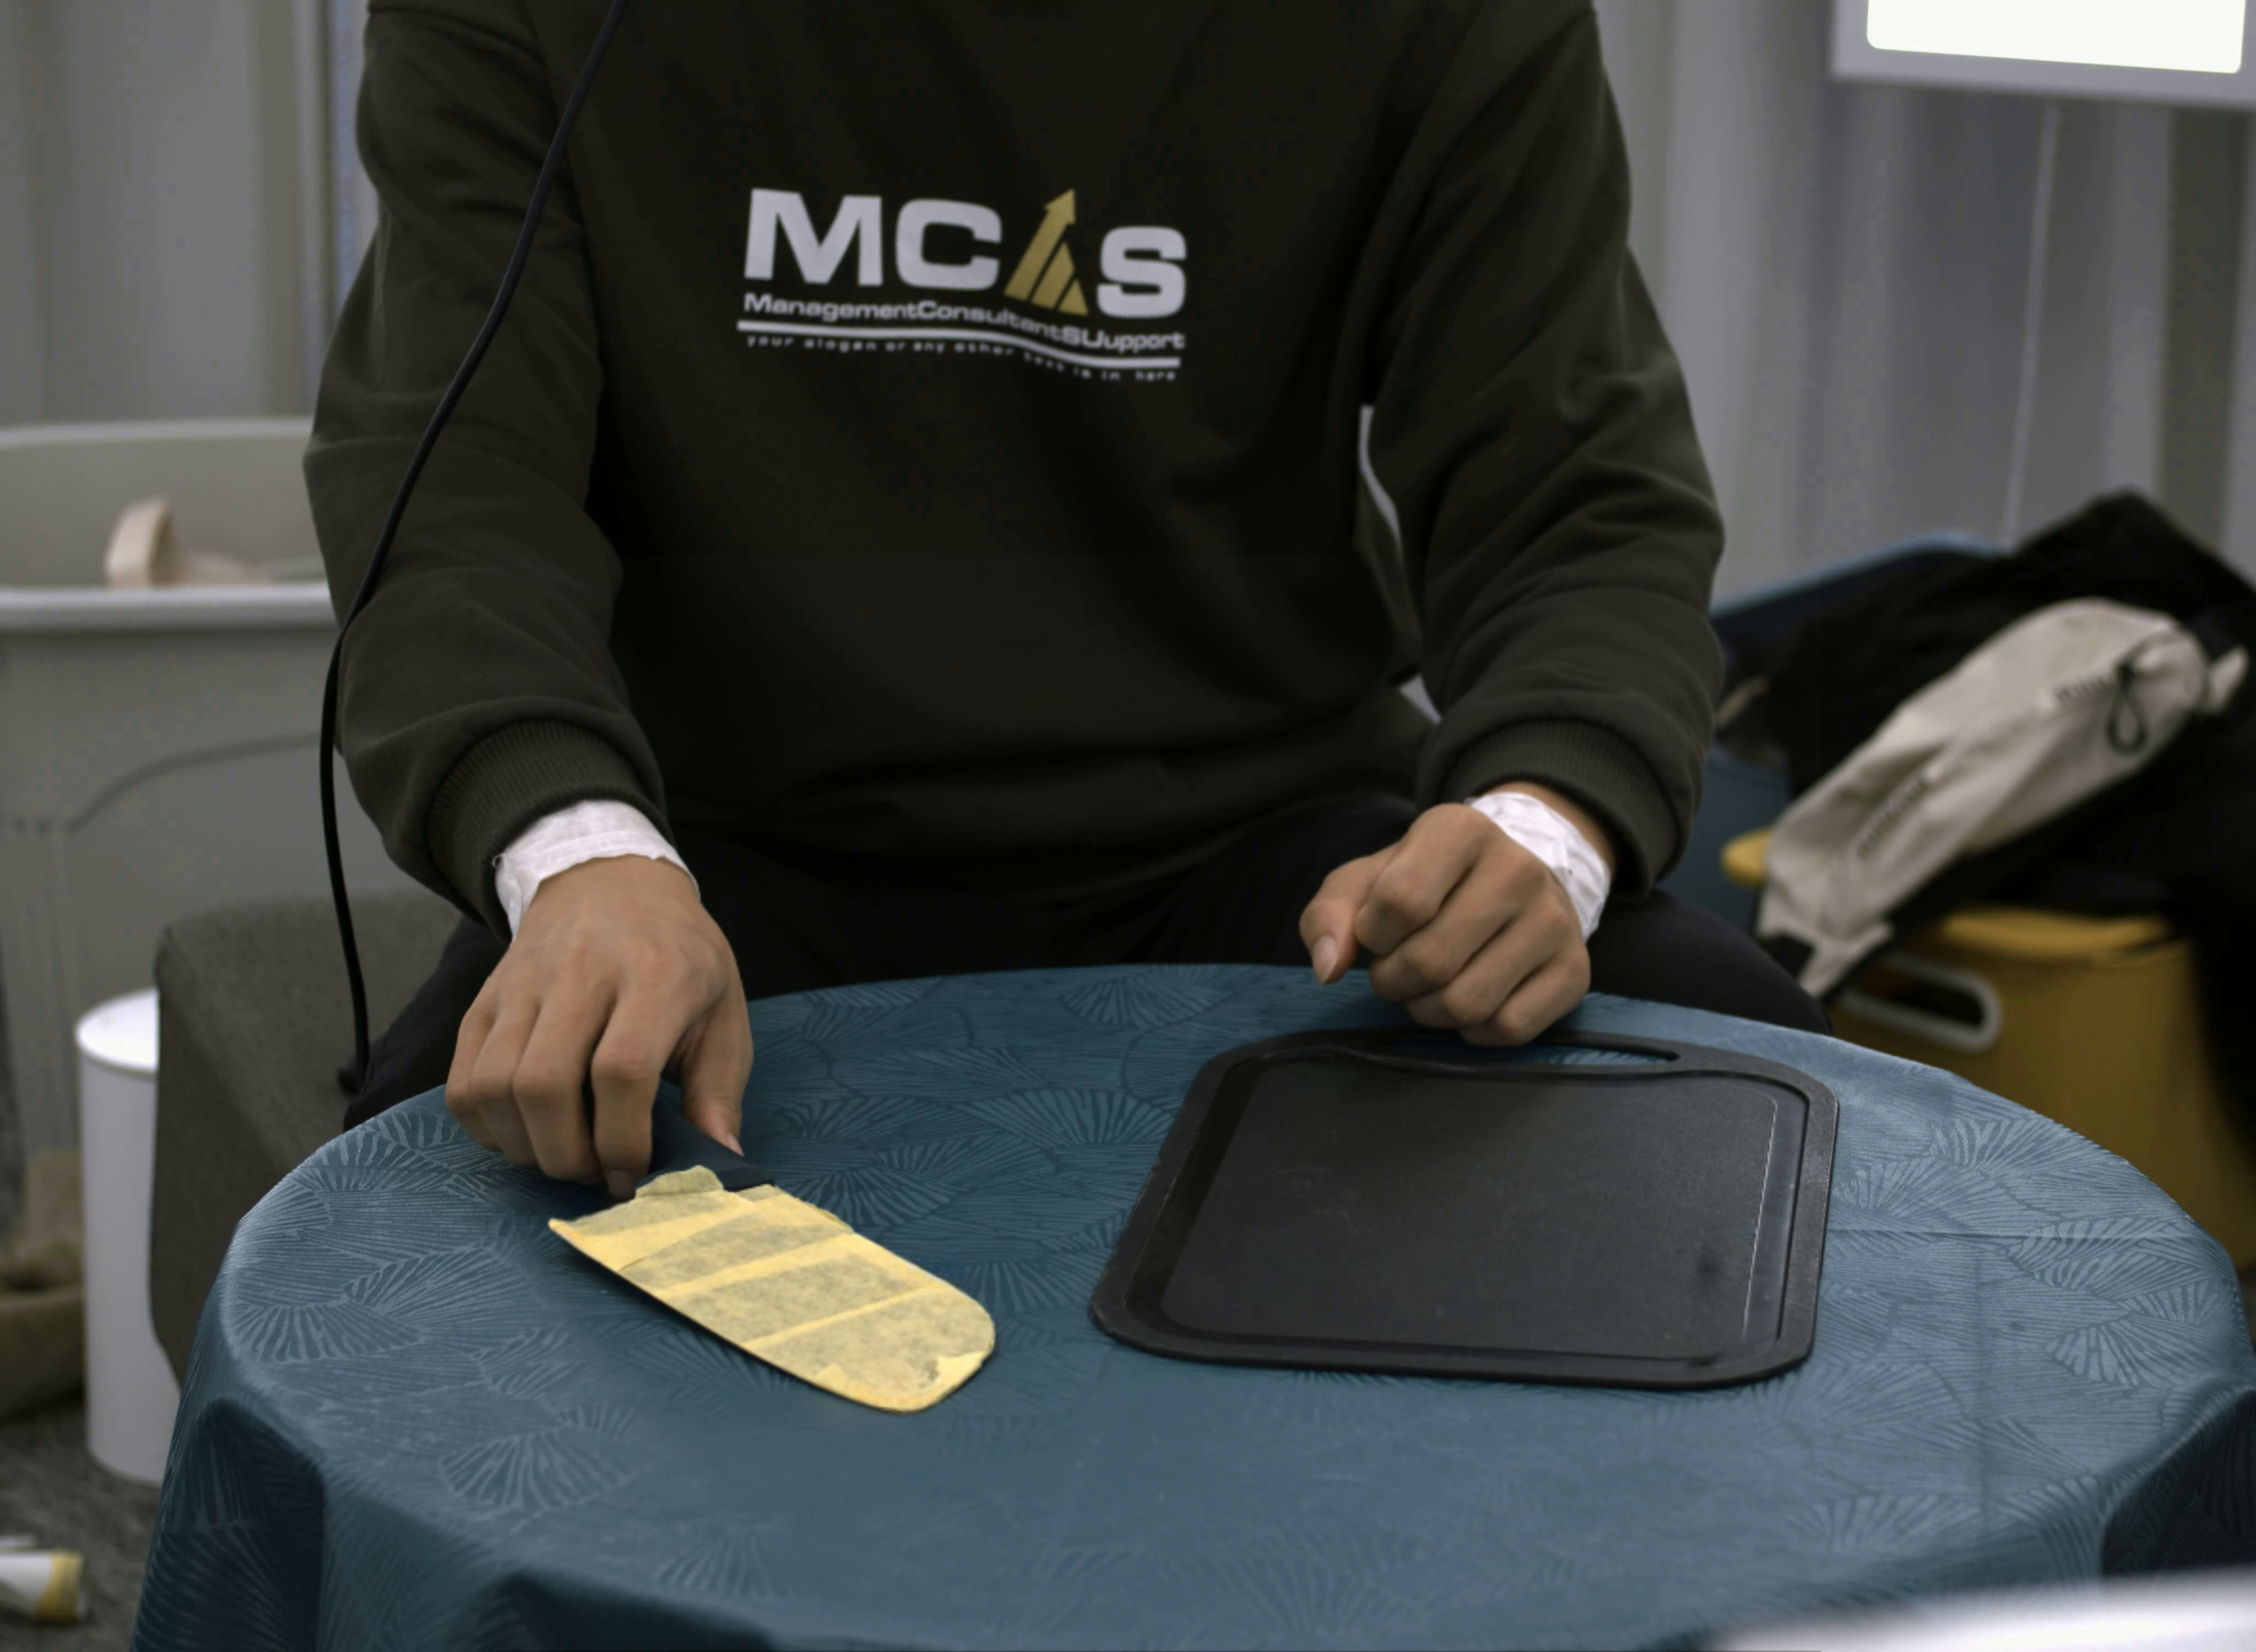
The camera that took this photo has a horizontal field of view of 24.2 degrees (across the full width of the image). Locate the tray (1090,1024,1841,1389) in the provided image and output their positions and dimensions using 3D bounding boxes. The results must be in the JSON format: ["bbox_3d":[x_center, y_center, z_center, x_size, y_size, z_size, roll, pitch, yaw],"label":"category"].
[{"bbox_3d":[0.111,0.109,1.626,0.210,0.010,0.324,3,16,9],"label":"tray"}]

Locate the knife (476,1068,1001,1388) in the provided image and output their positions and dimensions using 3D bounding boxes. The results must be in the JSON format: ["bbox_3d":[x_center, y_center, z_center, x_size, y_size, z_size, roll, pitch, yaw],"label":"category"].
[{"bbox_3d":[-0.129,0.120,1.565,0.081,0.027,0.285,-9,19,-33],"label":"knife"}]
